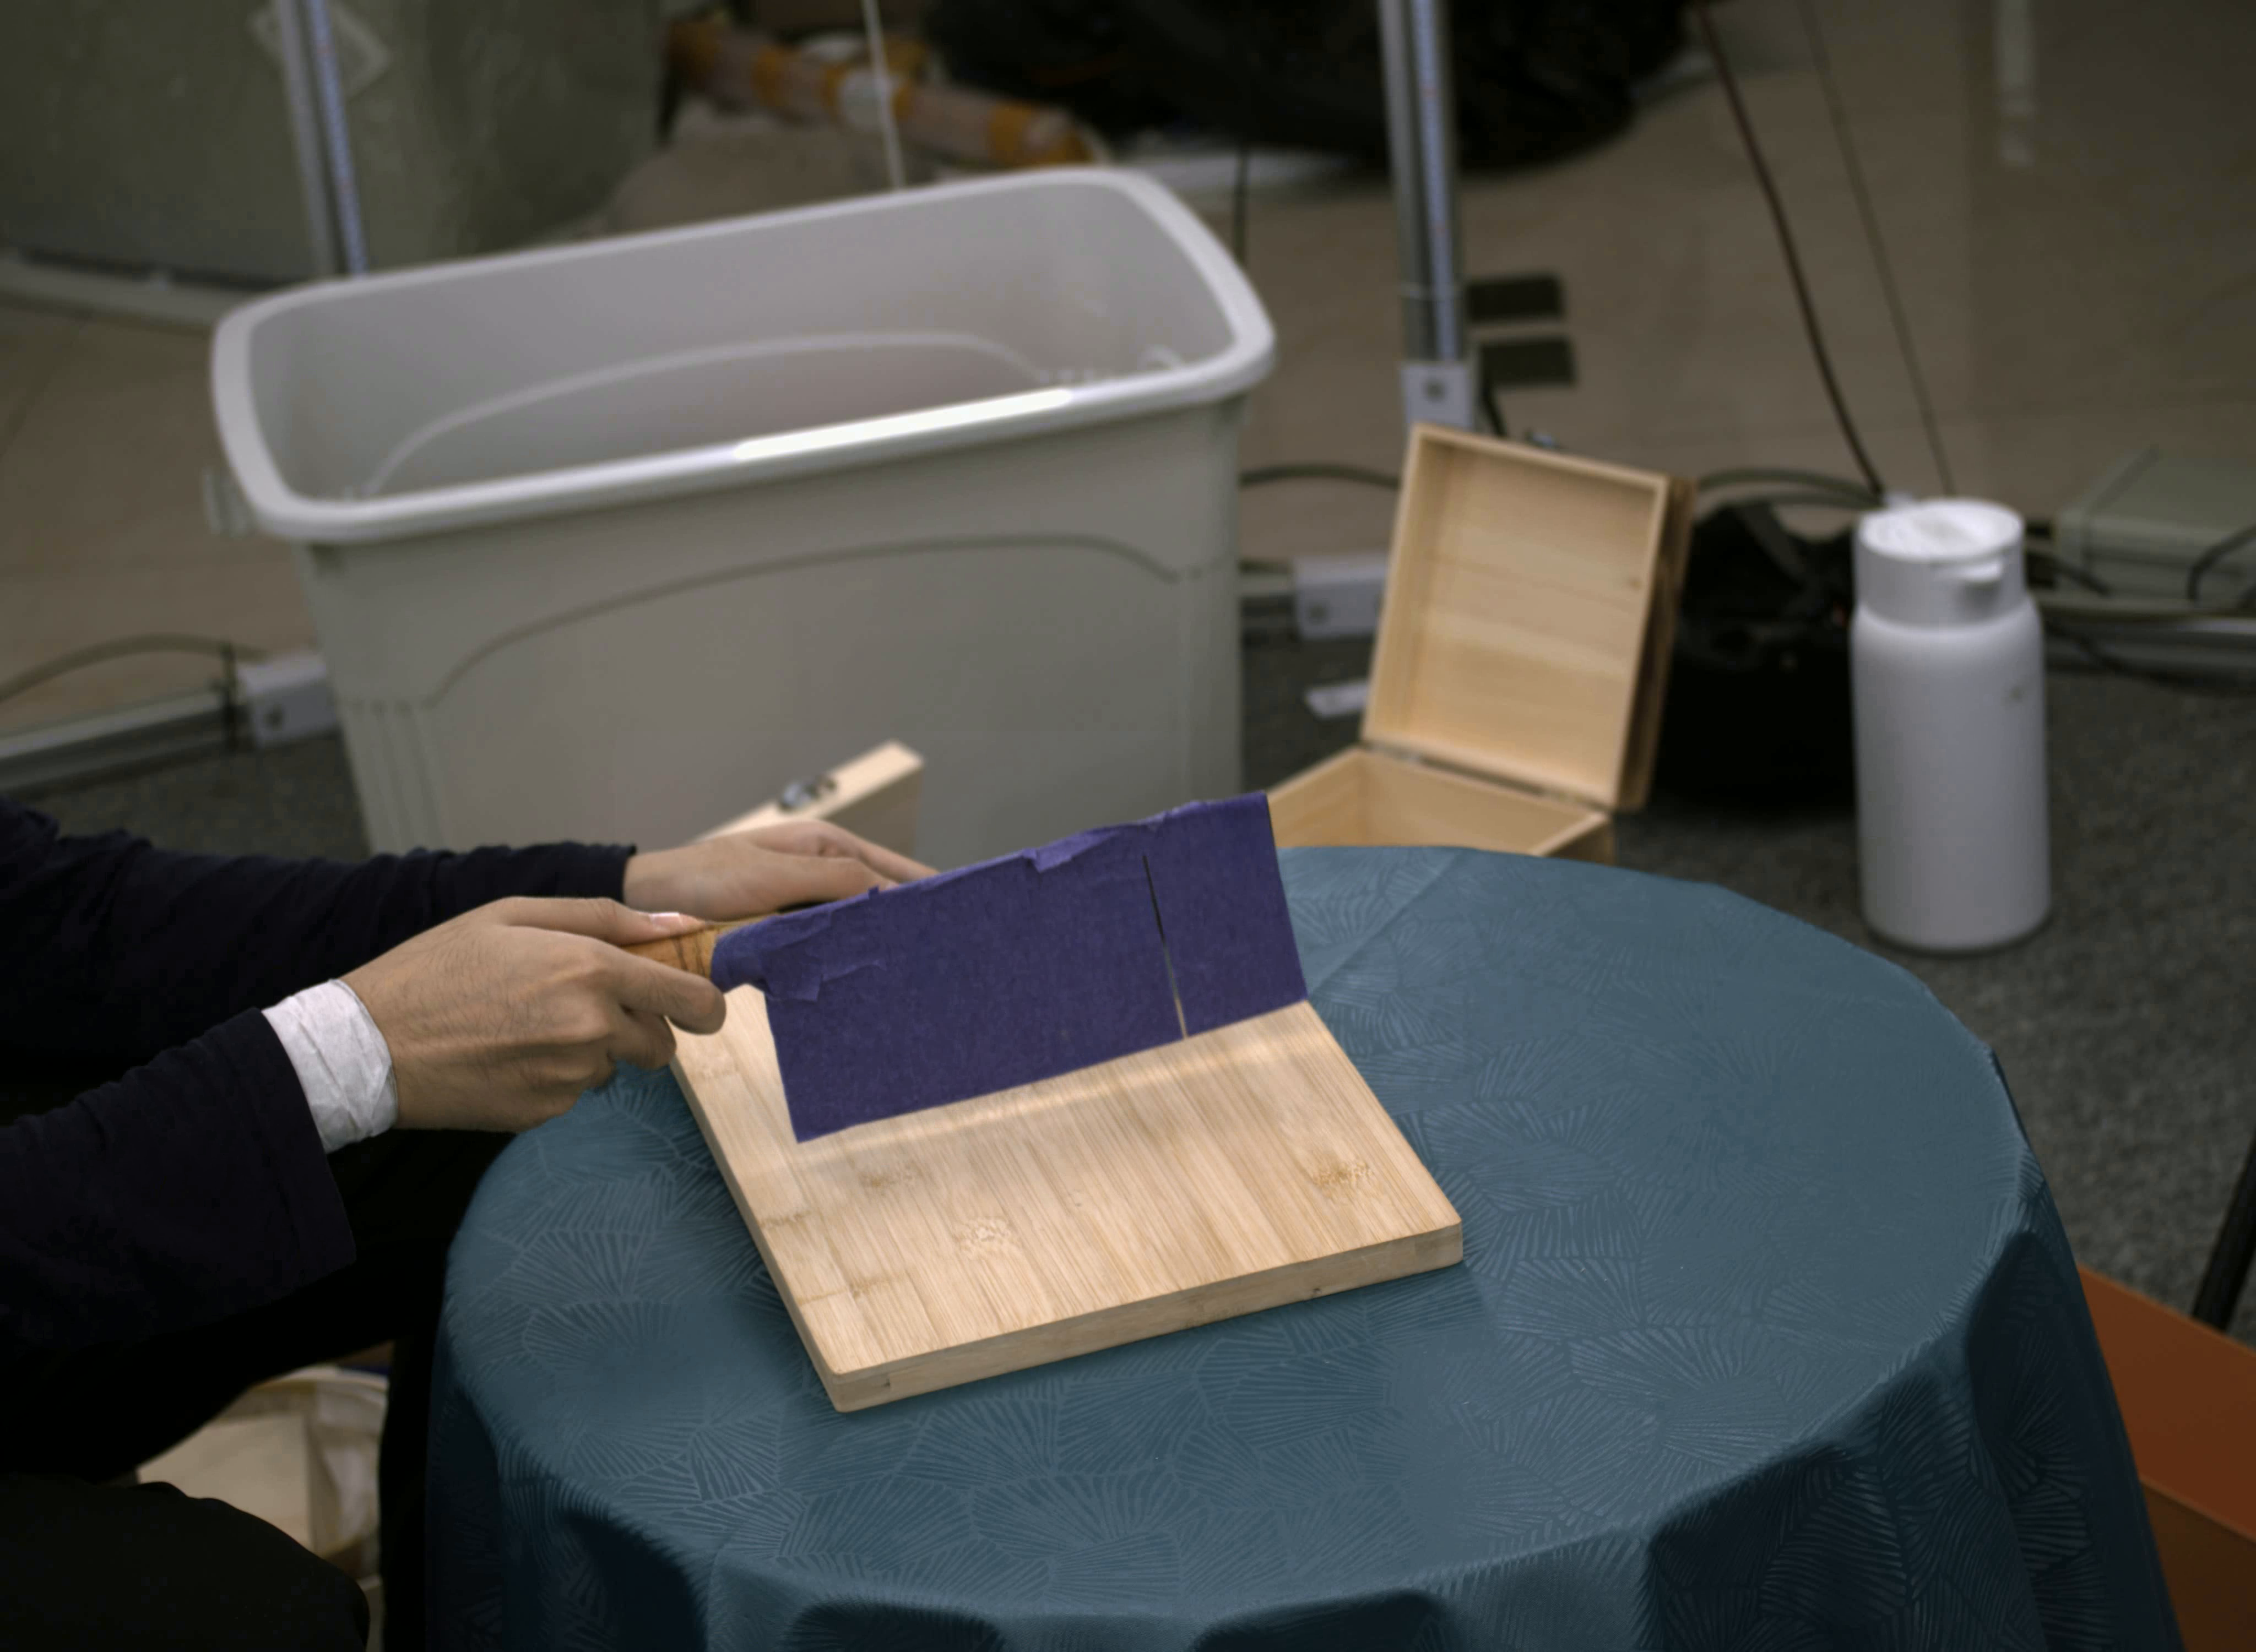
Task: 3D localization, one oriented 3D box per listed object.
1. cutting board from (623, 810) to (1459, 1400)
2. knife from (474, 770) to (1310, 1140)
[{"bbox_3d":[-0.042,0.102,2.192,0.250,0.024,0.343,-13,30,-13],"label":"cutting board"},{"bbox_3d":[-0.083,0.066,2.127,0.314,0.105,0.032,-15,21,-9],"label":"knife"}]
